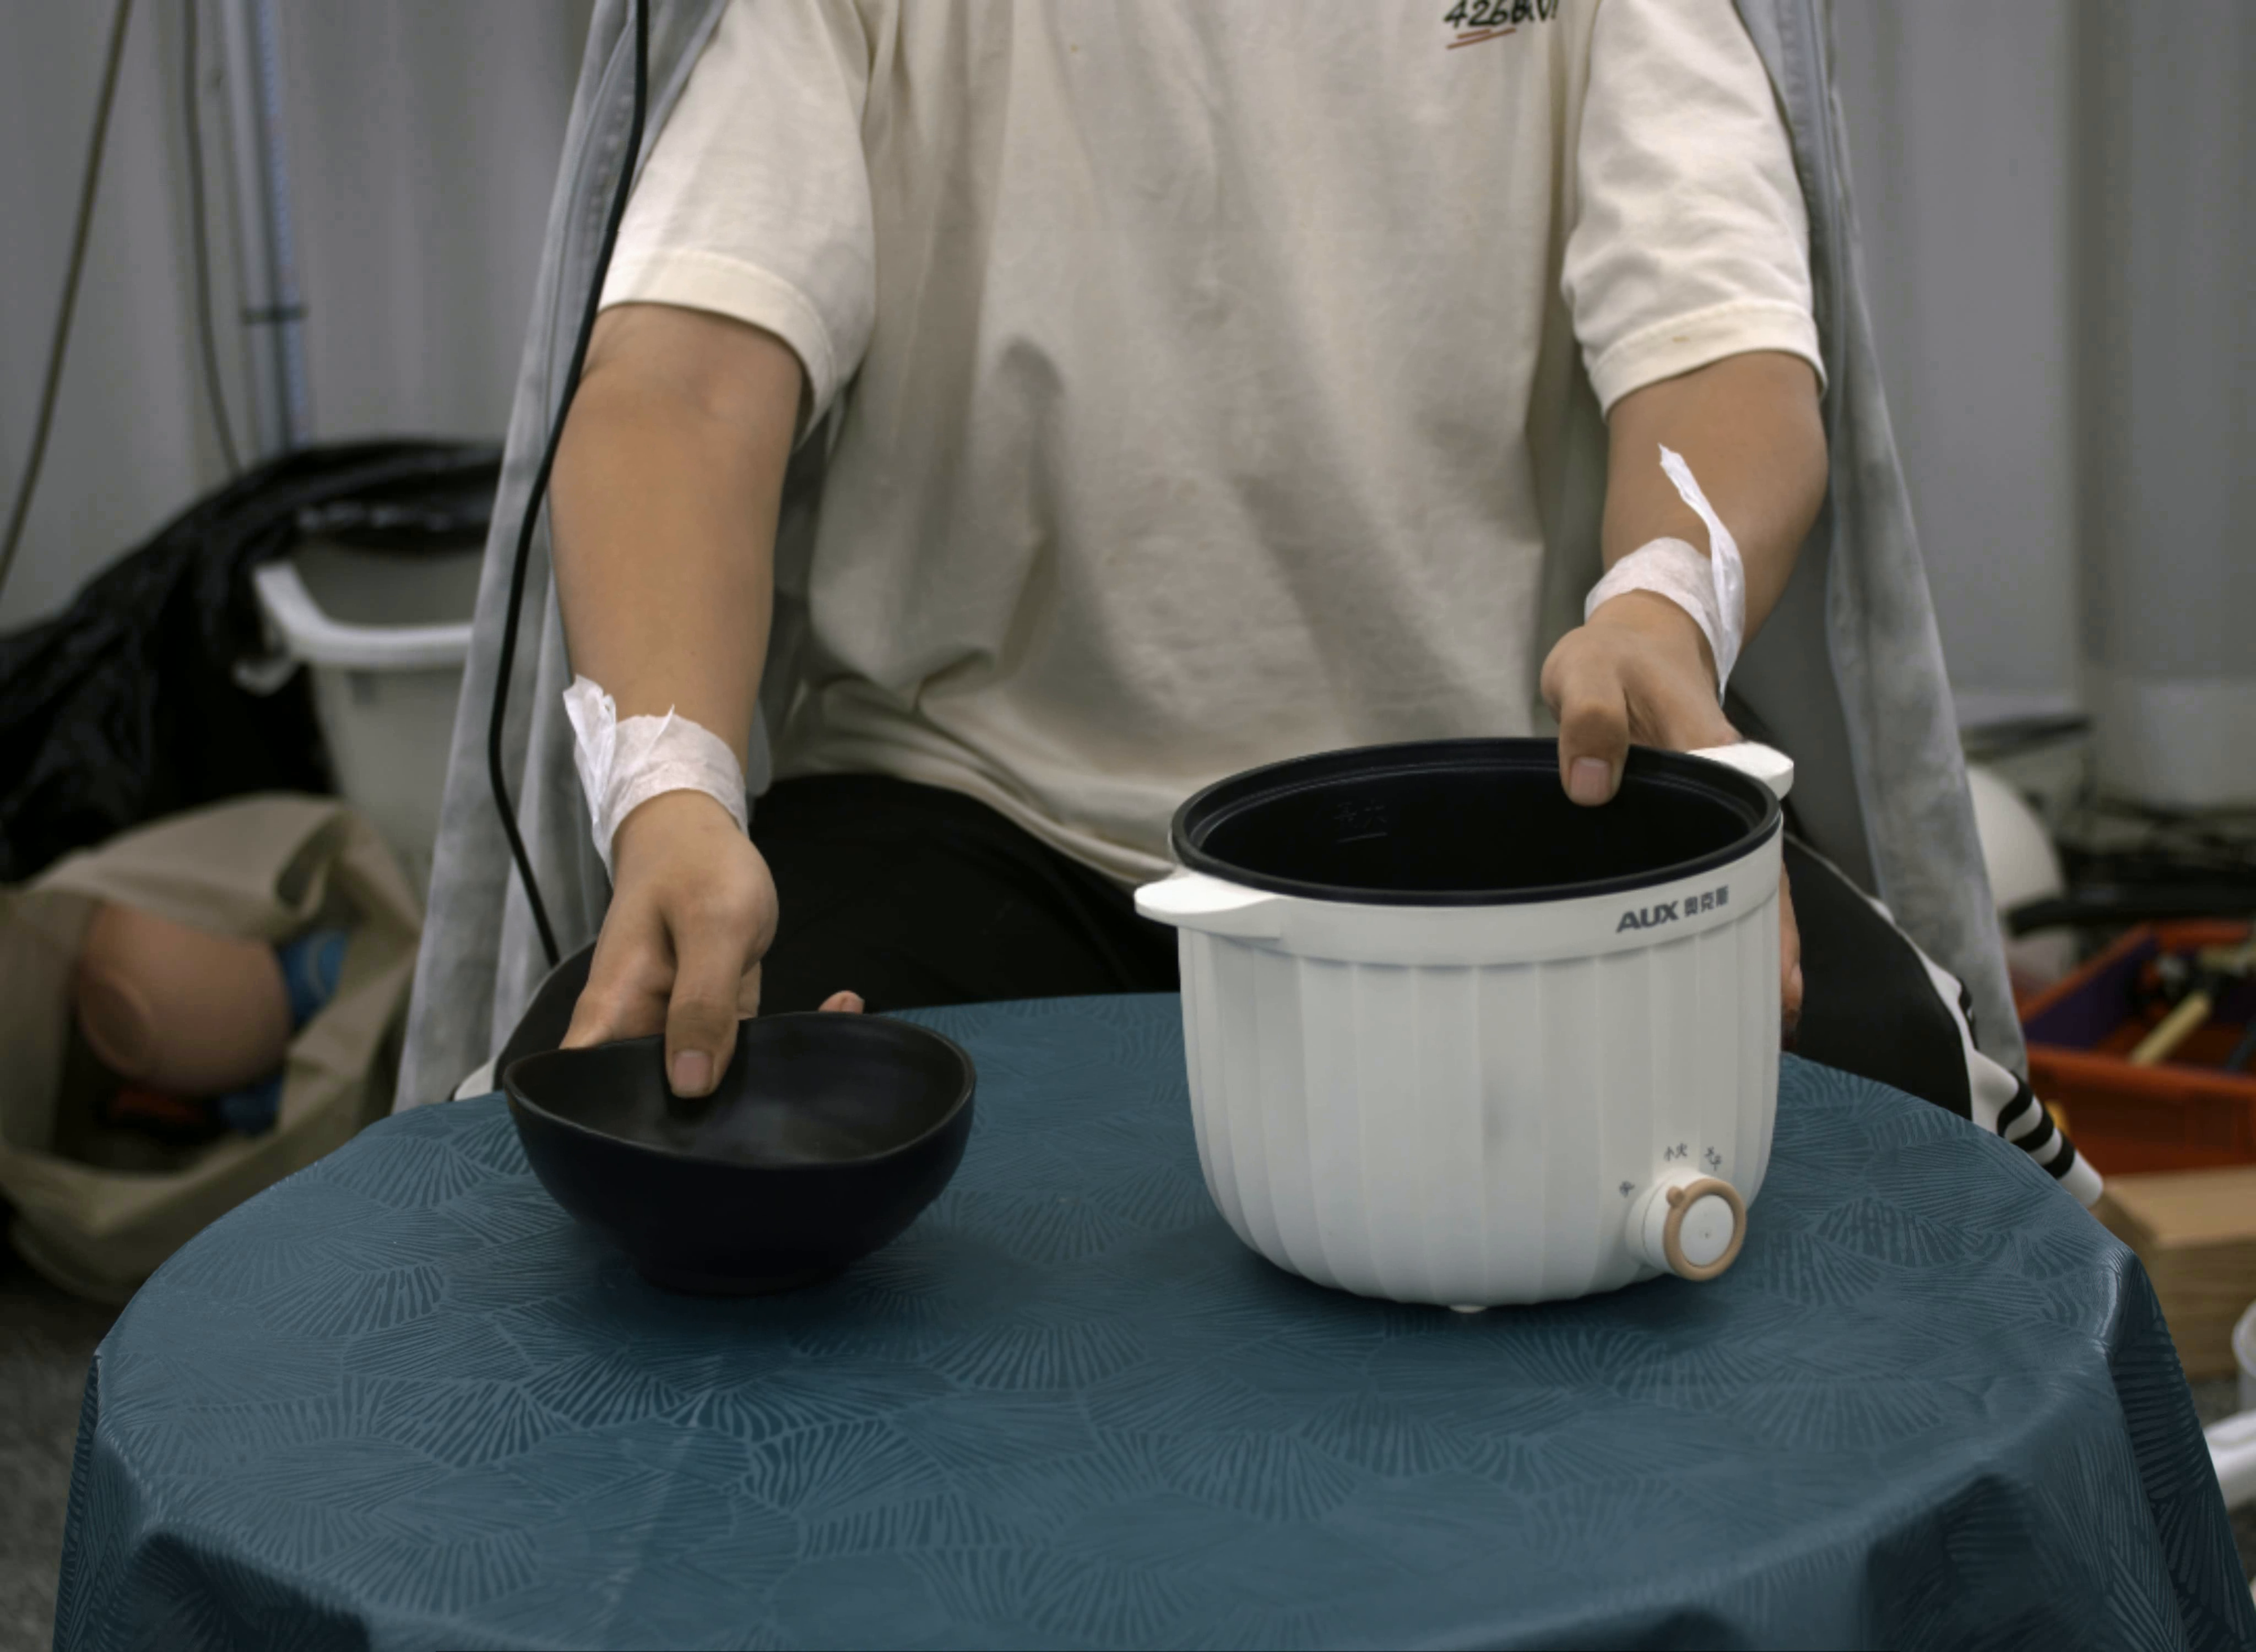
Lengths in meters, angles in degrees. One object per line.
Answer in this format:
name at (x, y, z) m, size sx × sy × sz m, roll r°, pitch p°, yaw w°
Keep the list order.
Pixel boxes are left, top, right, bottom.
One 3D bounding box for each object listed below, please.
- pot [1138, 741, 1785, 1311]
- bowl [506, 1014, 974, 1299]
pot at (0.110, 0.061, 1.634) m, size 0.239 × 0.142 × 0.191 m, roll -14°, pitch 15°, yaw -34°
bowl at (-0.119, 0.103, 1.659) m, size 0.137 × 0.066 × 0.171 m, roll -8°, pitch 15°, yaw -27°
